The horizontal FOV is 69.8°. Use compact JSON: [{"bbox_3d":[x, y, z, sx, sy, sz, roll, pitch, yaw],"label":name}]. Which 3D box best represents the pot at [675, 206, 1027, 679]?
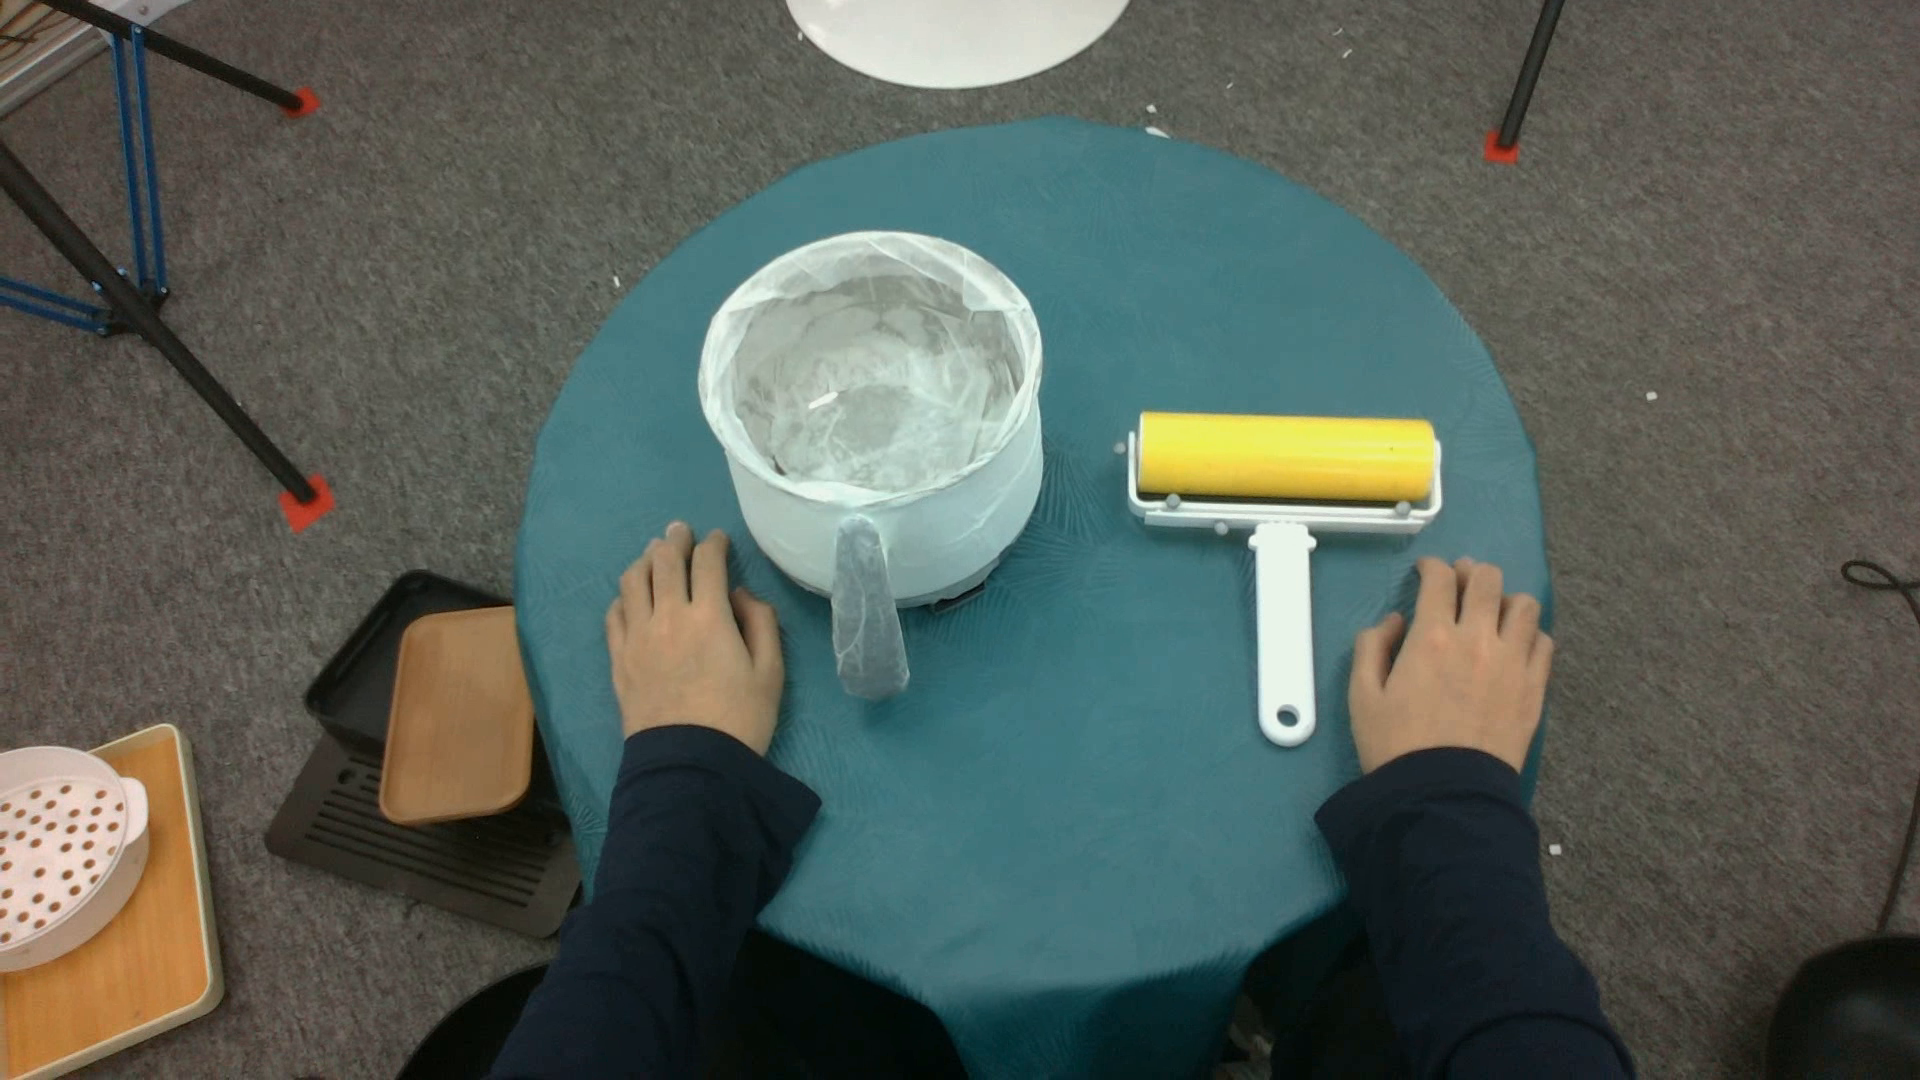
[{"bbox_3d":[-0.052,-0.049,0.739,0.178,0.136,0.234,-3,58,4],"label":"pot"}]

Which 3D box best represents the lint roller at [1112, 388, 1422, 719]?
[{"bbox_3d":[0.172,0.000,0.756,0.174,0.051,0.193,0,59,4],"label":"lint roller"}]
